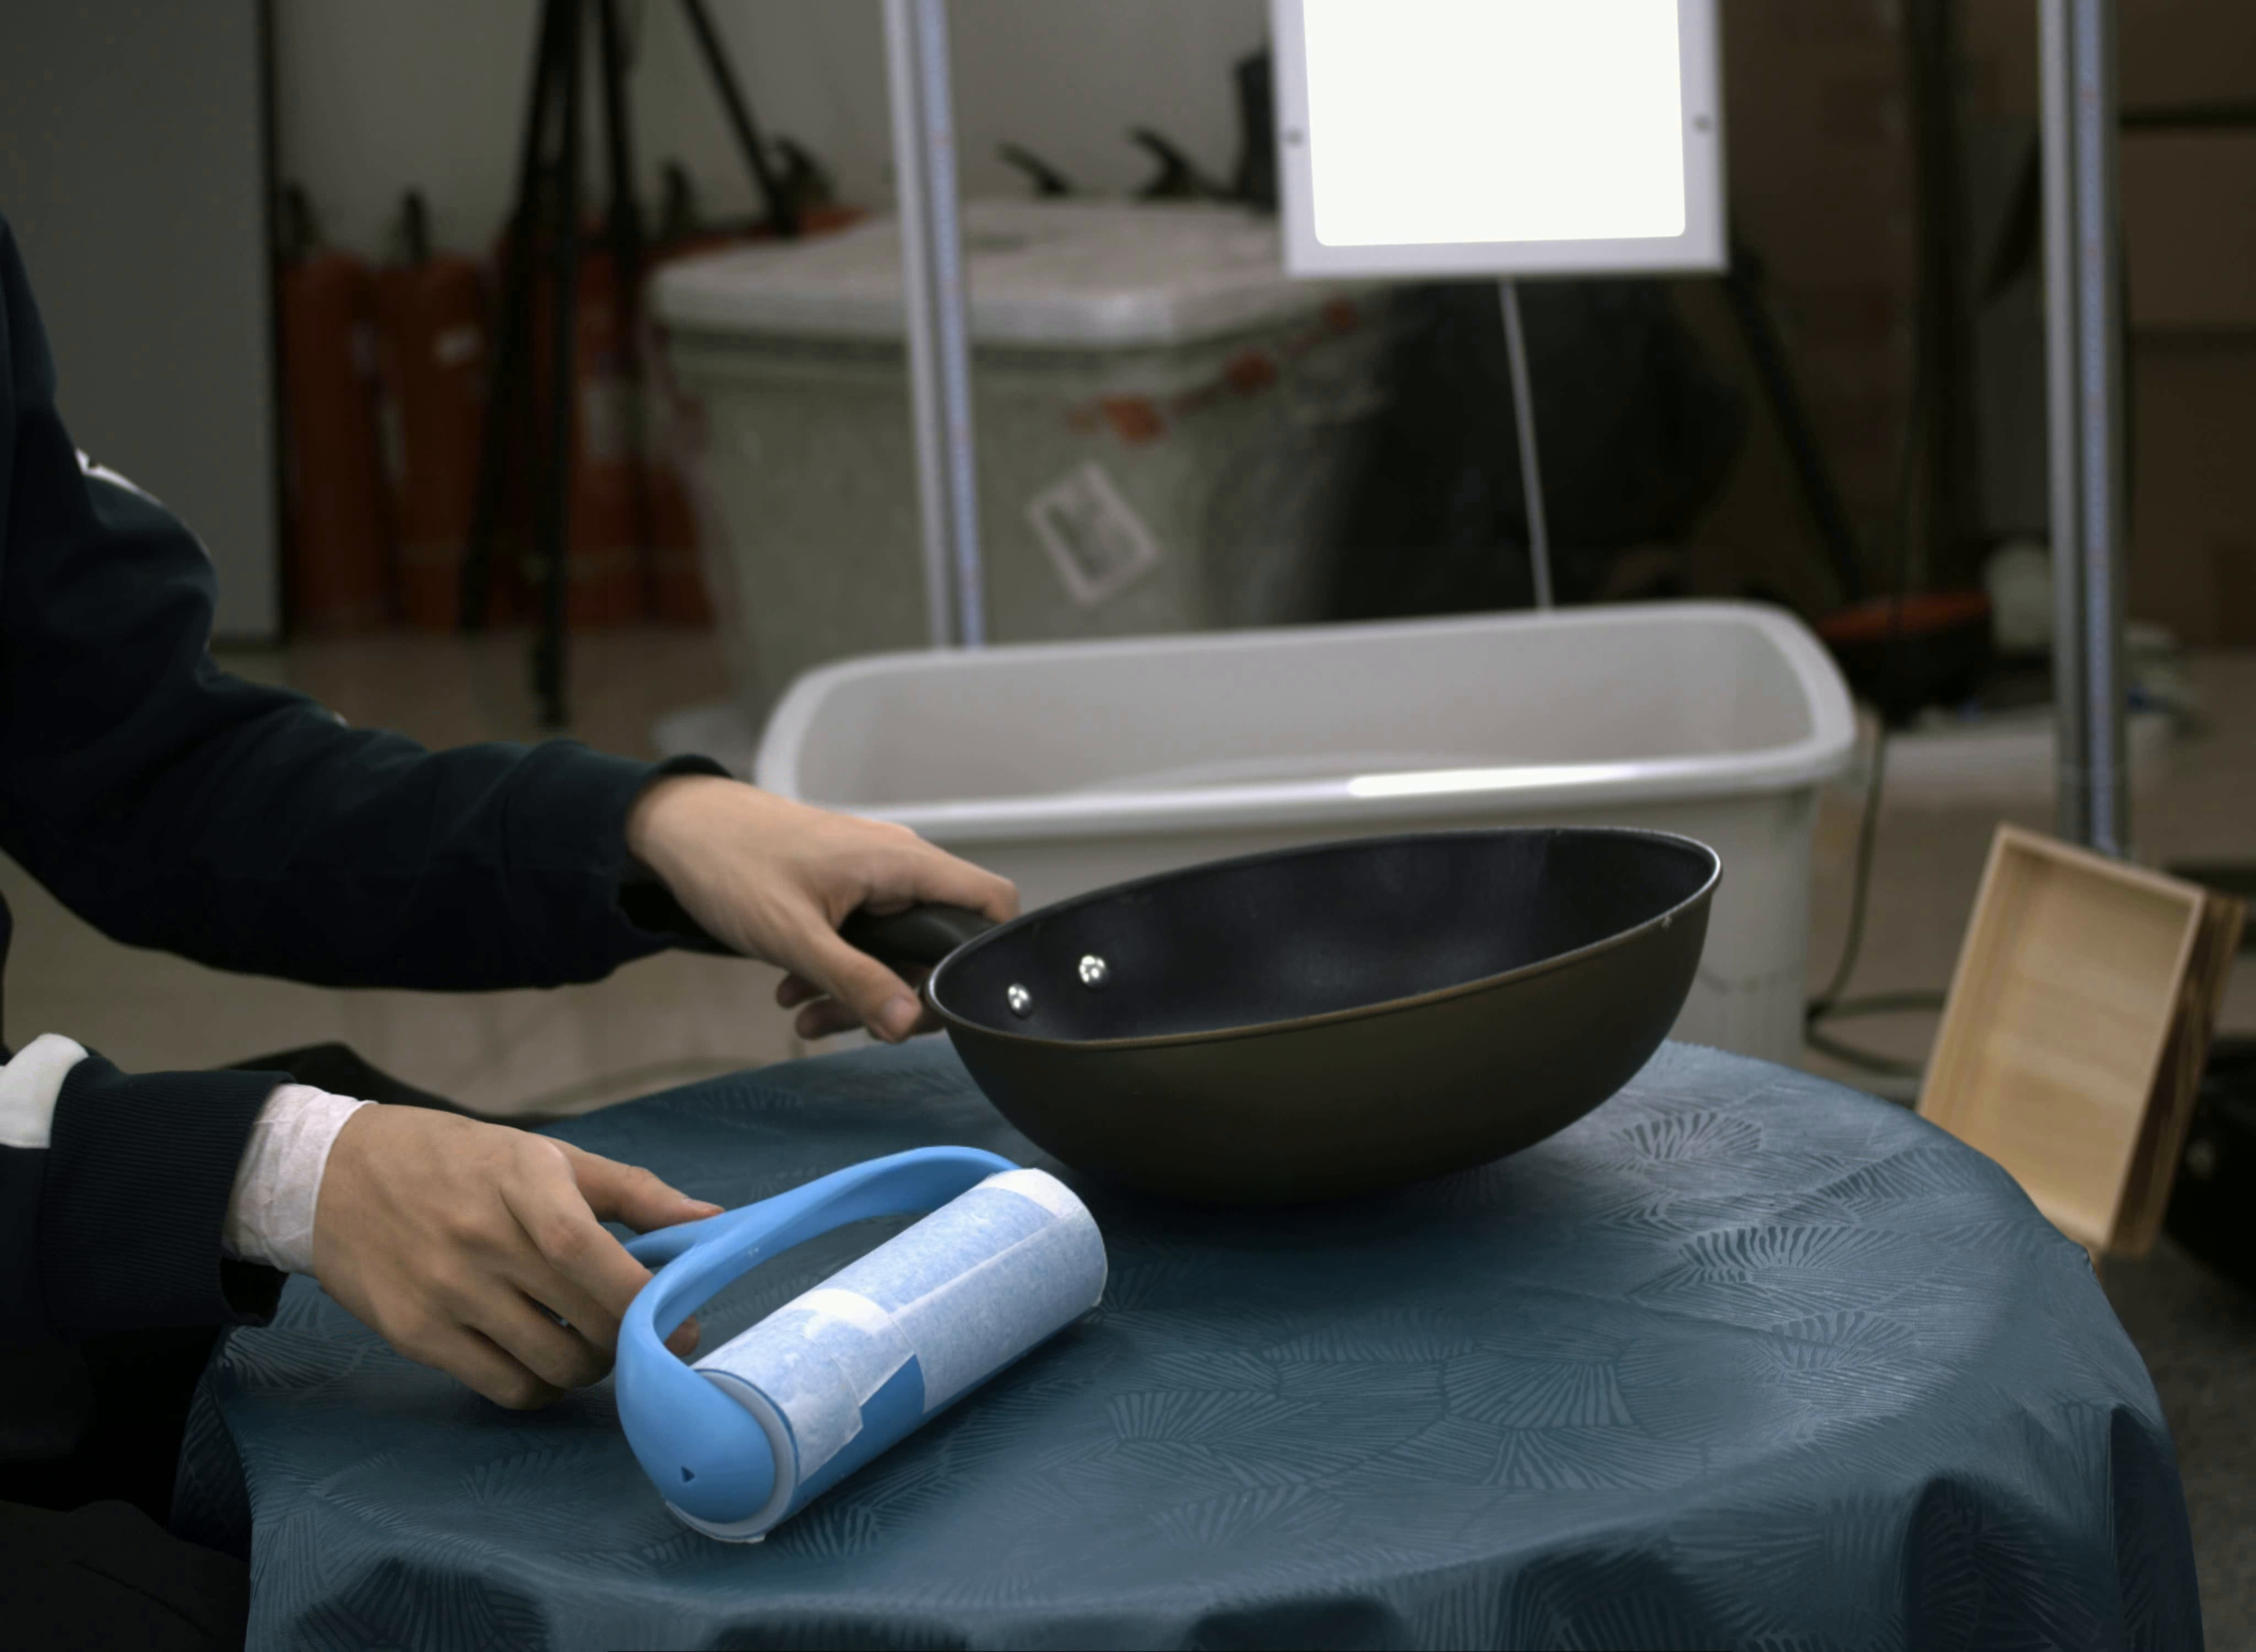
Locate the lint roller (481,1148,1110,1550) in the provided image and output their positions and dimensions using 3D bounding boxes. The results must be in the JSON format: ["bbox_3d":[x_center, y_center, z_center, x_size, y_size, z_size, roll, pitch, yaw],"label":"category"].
[{"bbox_3d":[-0.125,0.156,1.705,0.183,0.068,0.224,3,18,25],"label":"lint roller"}]

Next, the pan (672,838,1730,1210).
[{"bbox_3d":[0.005,0.072,1.956,0.474,0.087,0.281,-1,13,42],"label":"pan"}]
